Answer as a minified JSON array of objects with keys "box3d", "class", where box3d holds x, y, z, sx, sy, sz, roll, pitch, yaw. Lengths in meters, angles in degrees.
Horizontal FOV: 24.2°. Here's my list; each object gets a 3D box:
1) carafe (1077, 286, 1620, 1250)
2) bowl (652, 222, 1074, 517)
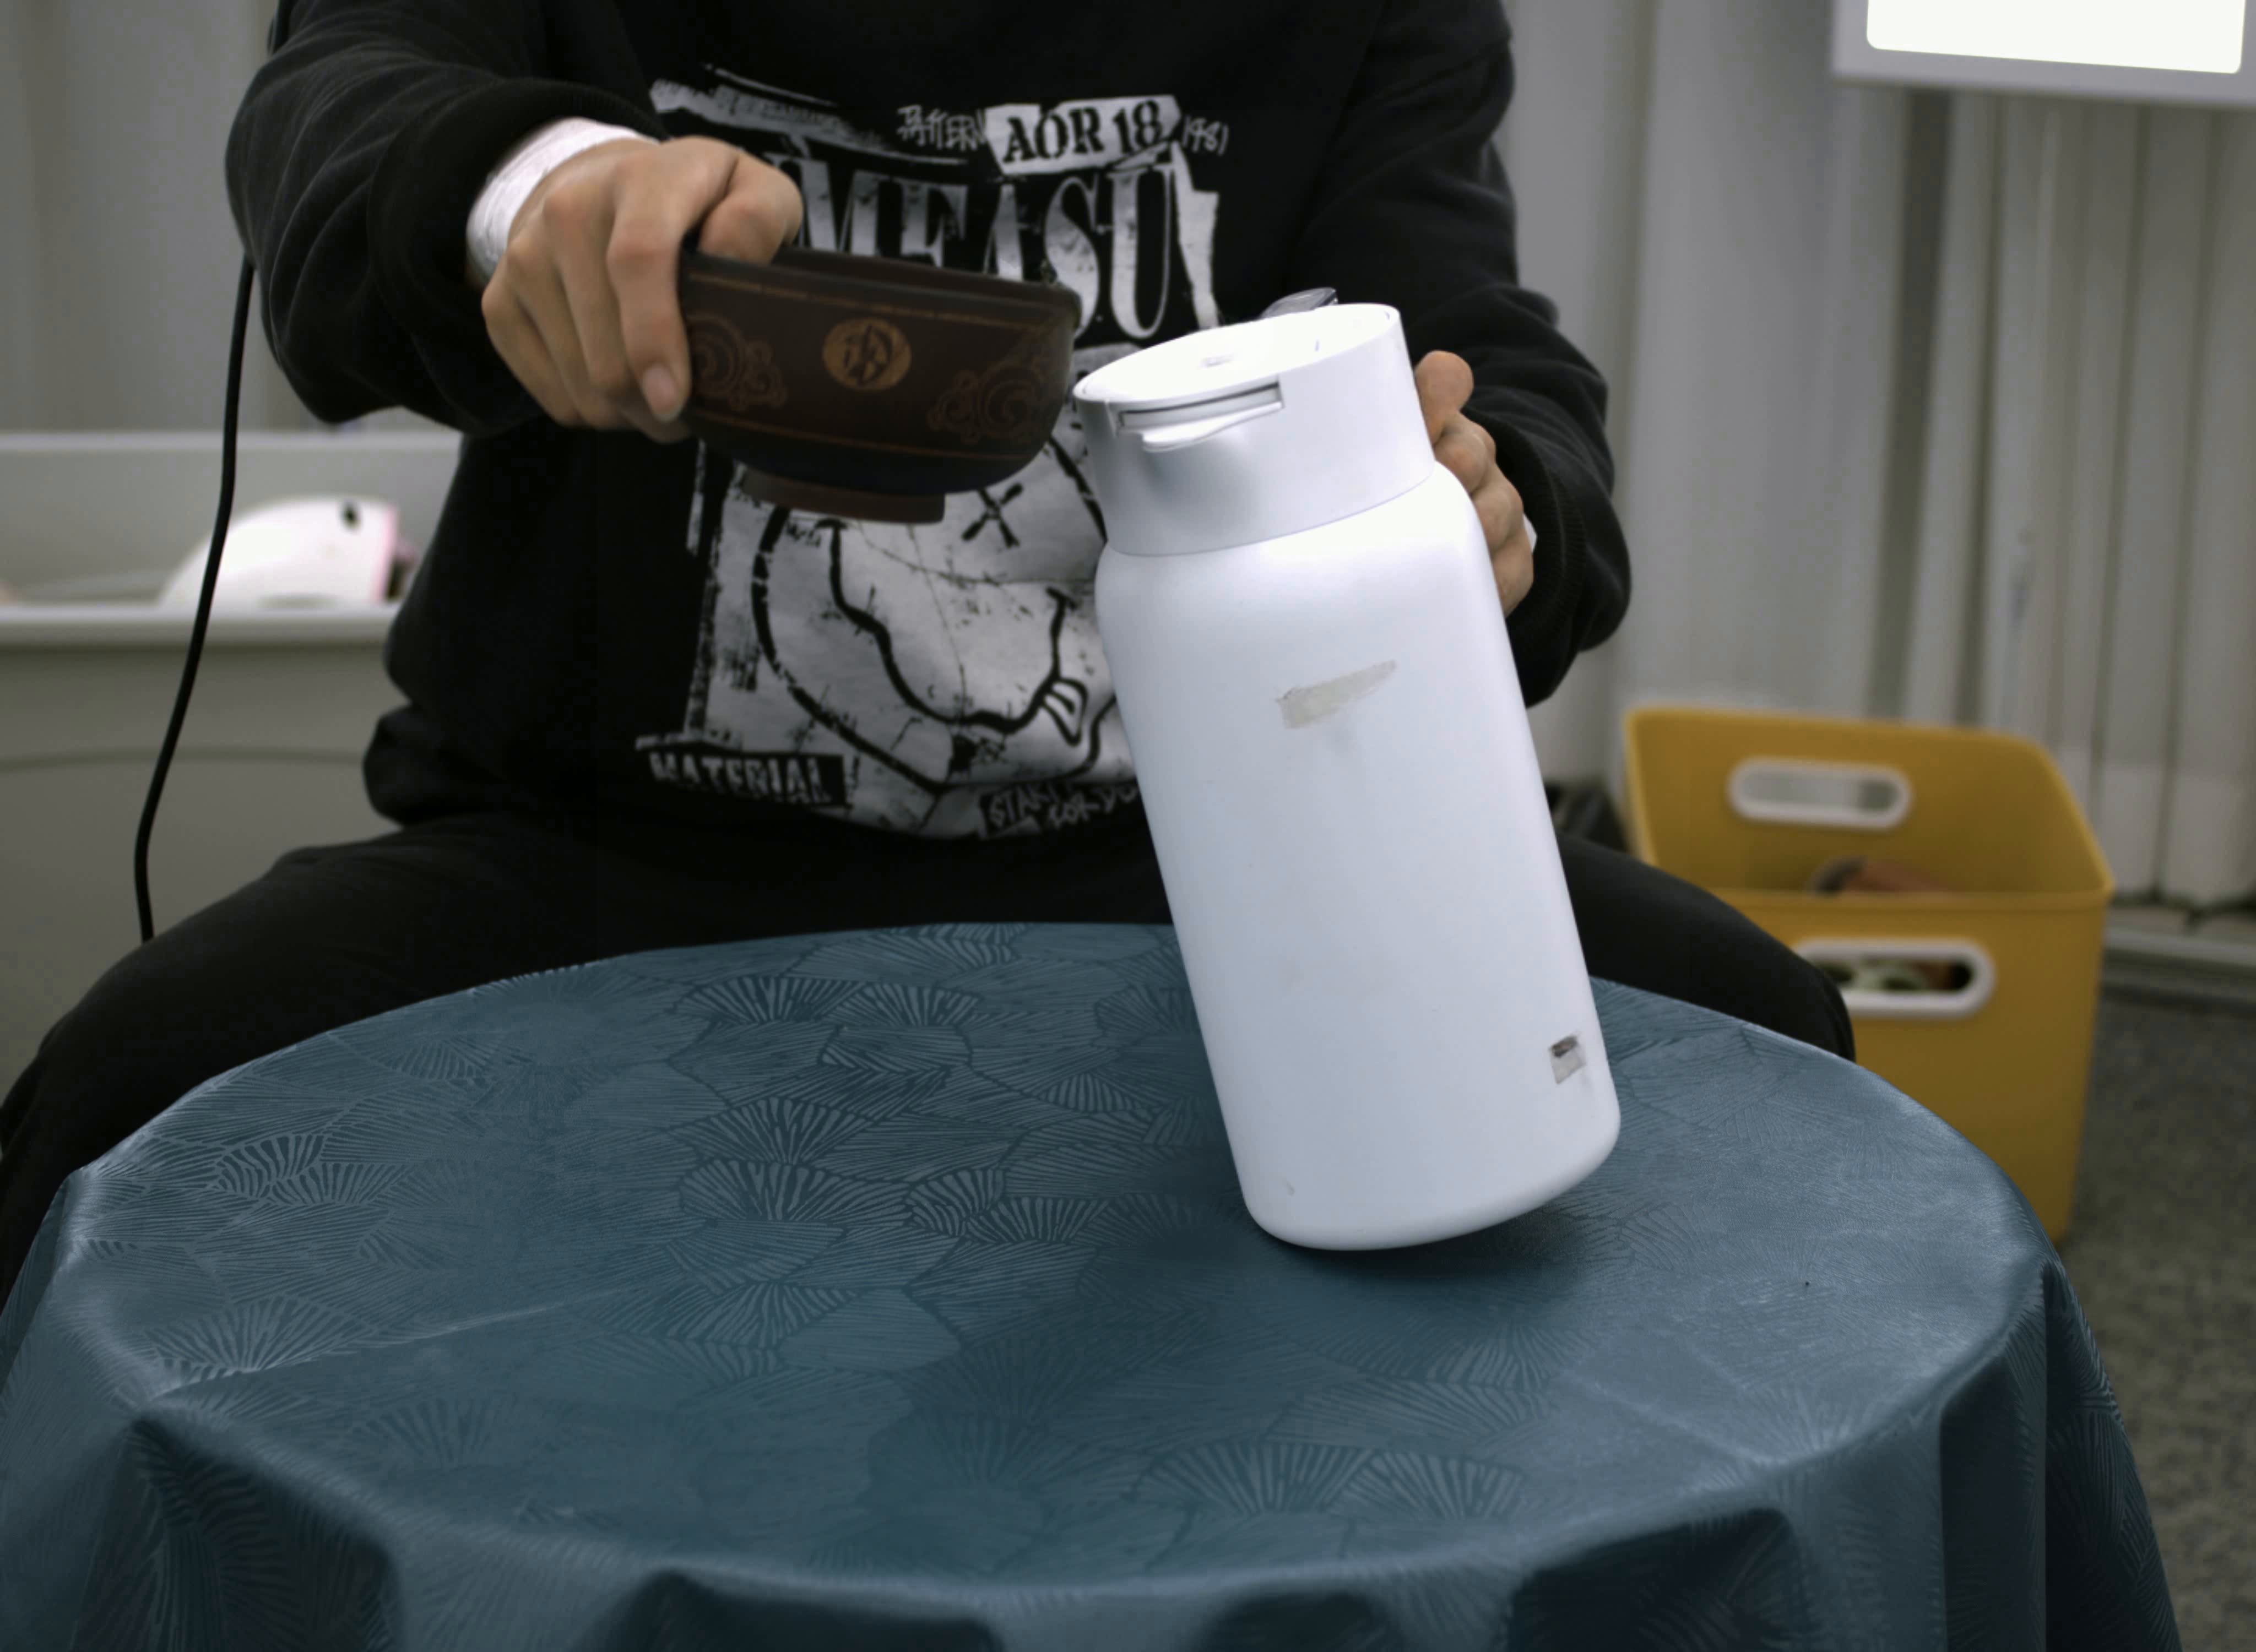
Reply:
[{"box3d":[0.067,-0.021,1.576,0.123,0.271,0.172,-10,16,21],"class":"carafe"},{"box3d":[-0.077,-0.126,1.480,0.118,0.070,0.117,9,11,-1],"class":"bowl"}]
